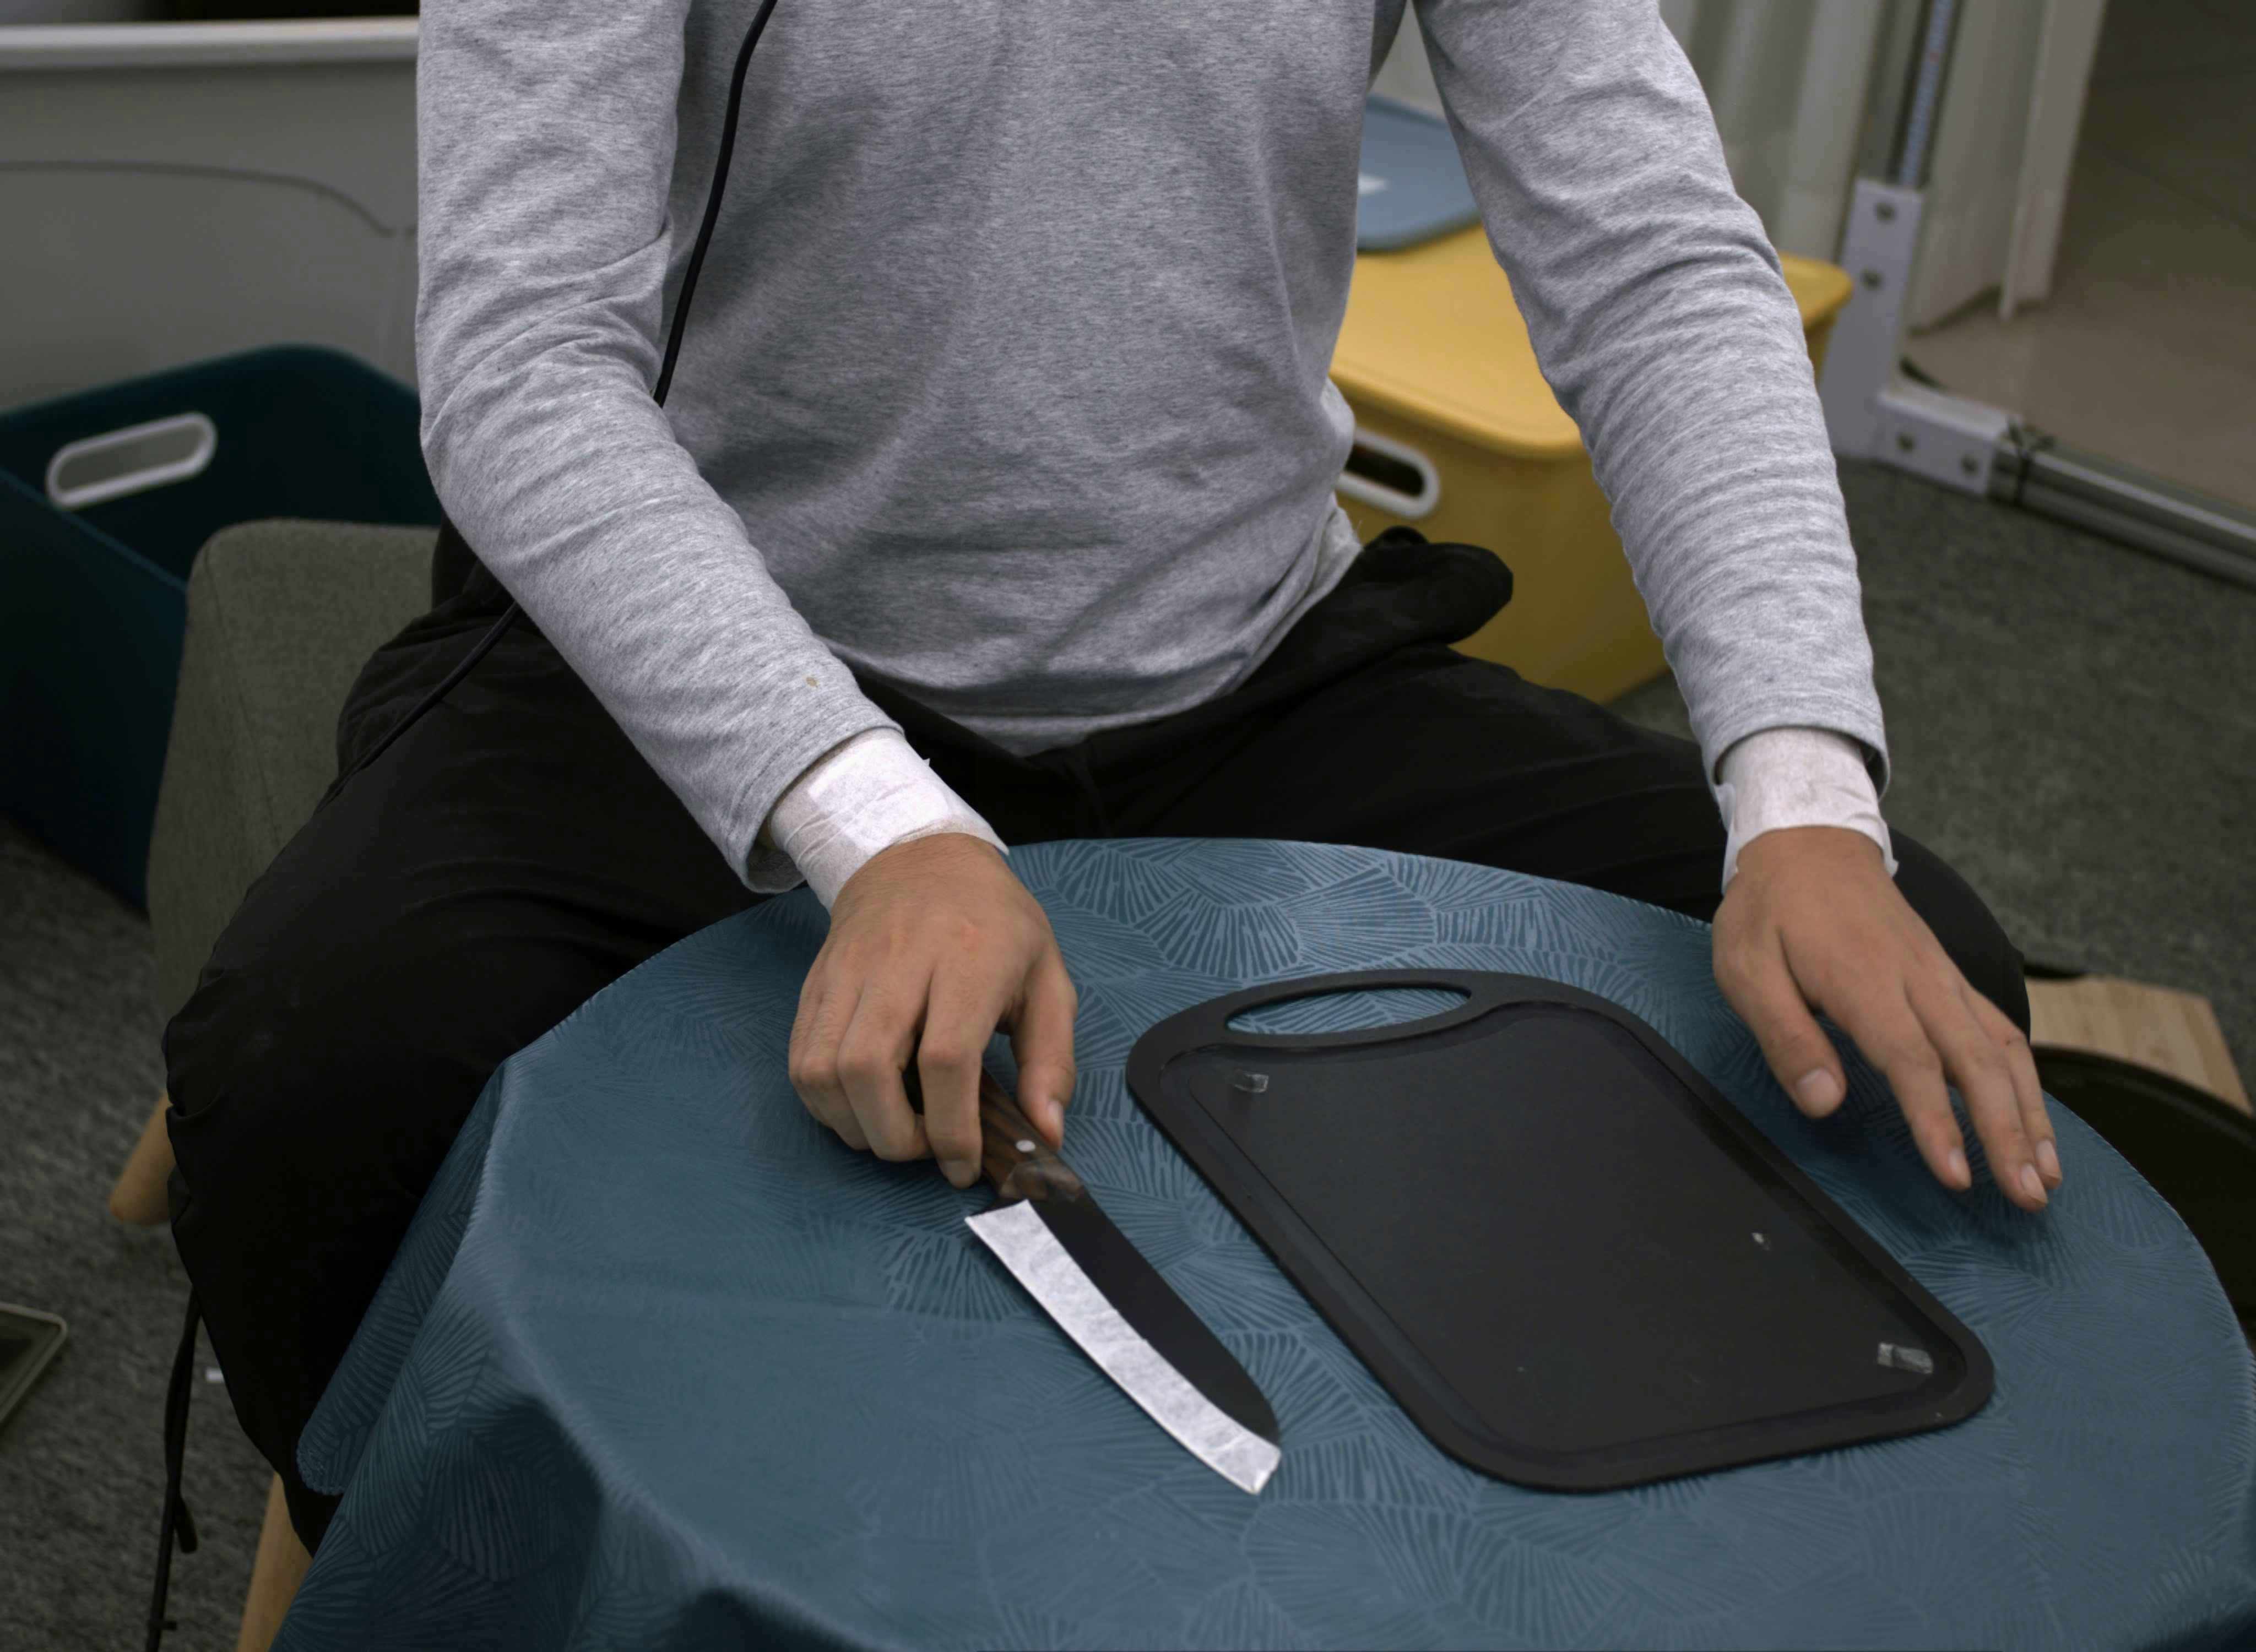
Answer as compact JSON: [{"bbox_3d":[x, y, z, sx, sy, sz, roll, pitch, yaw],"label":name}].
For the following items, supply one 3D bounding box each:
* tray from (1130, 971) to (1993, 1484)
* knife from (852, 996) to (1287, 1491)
[{"bbox_3d":[0.139,0.128,1.823,0.210,0.010,0.328,-6,29,-24],"label":"tray"},{"bbox_3d":[-0.023,0.136,1.759,0.050,0.020,0.292,-13,35,-24],"label":"knife"}]
